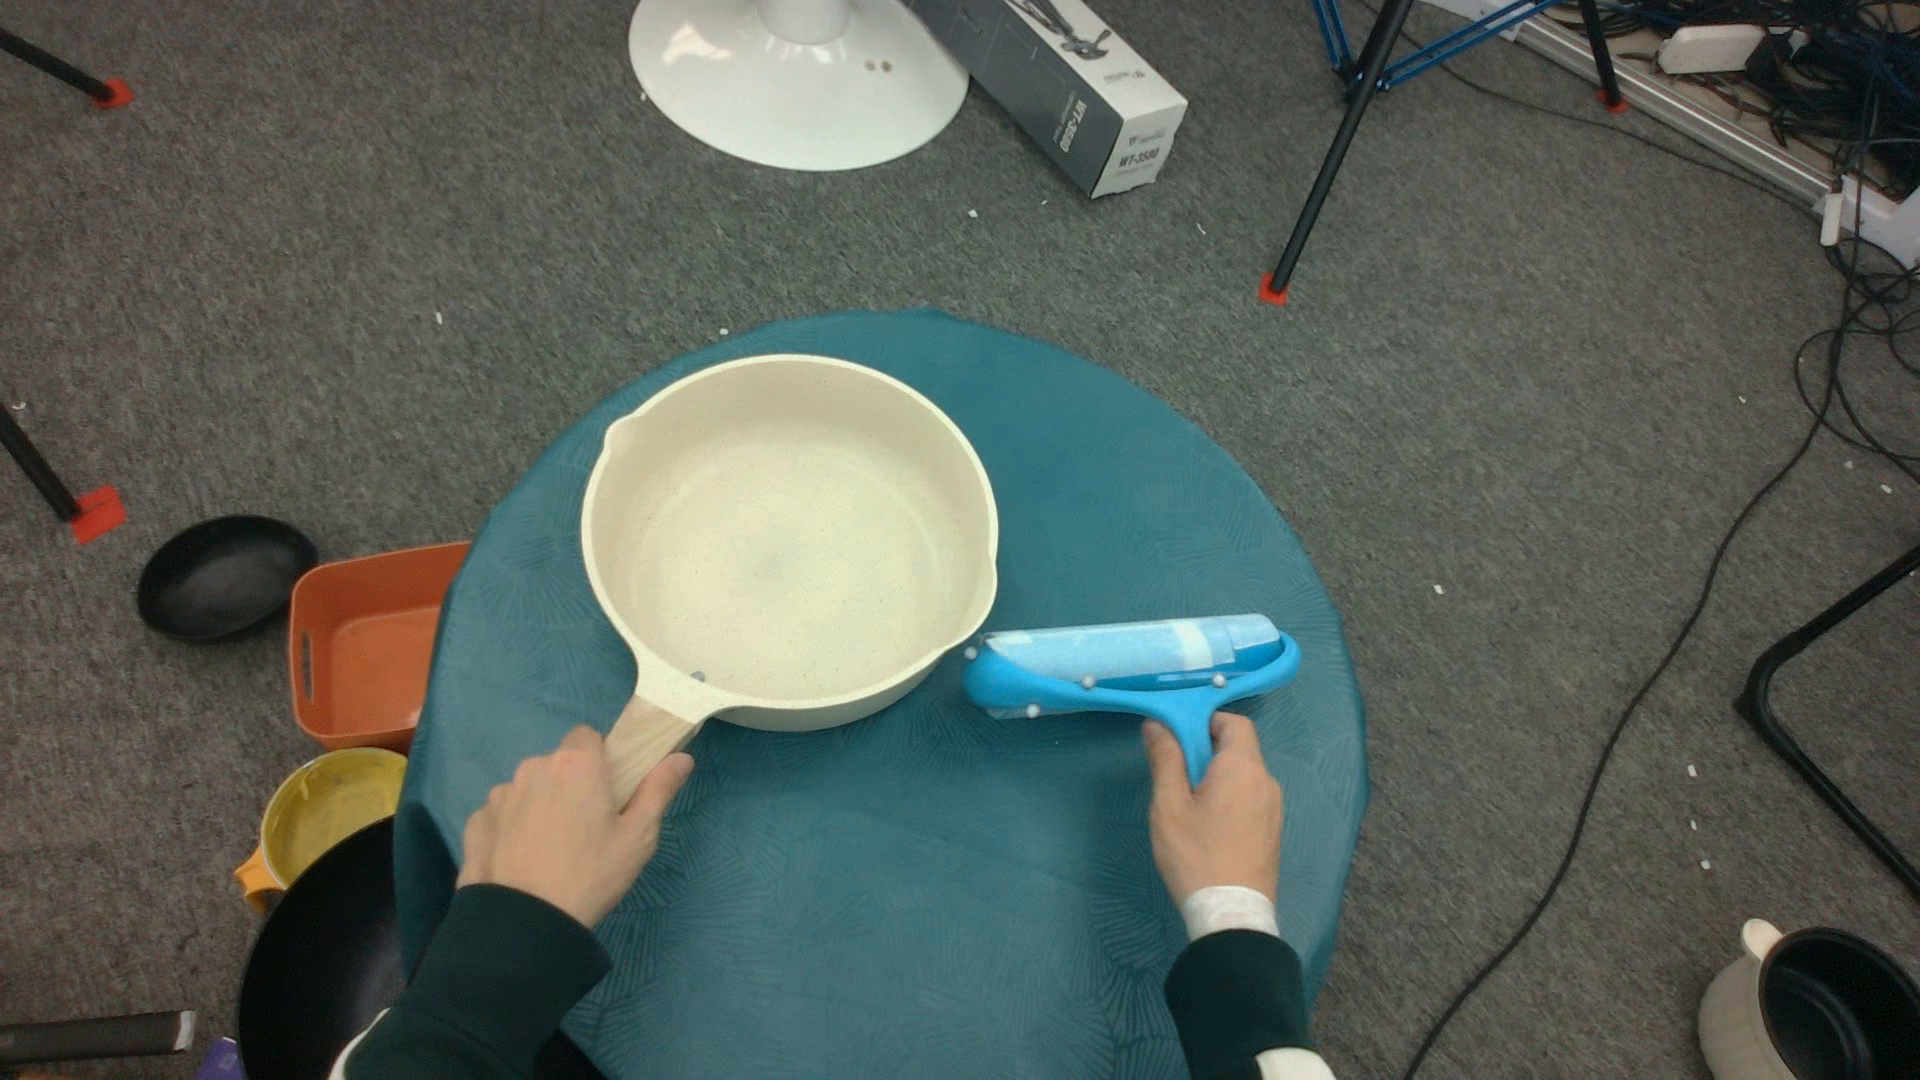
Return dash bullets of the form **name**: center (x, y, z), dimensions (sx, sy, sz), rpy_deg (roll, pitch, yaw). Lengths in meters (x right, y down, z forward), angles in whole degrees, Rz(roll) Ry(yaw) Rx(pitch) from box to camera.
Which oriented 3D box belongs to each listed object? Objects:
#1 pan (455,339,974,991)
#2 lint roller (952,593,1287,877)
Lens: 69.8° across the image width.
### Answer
- **pan**: center (-0.157, 0.067, 0.815), dimensions (0.263, 0.101, 0.437), rpy_deg (25, 60, 5)
- **lint roller**: center (0.123, 0.108, 0.829), dimensions (0.229, 0.067, 0.181), rpy_deg (-4, 47, -28)
